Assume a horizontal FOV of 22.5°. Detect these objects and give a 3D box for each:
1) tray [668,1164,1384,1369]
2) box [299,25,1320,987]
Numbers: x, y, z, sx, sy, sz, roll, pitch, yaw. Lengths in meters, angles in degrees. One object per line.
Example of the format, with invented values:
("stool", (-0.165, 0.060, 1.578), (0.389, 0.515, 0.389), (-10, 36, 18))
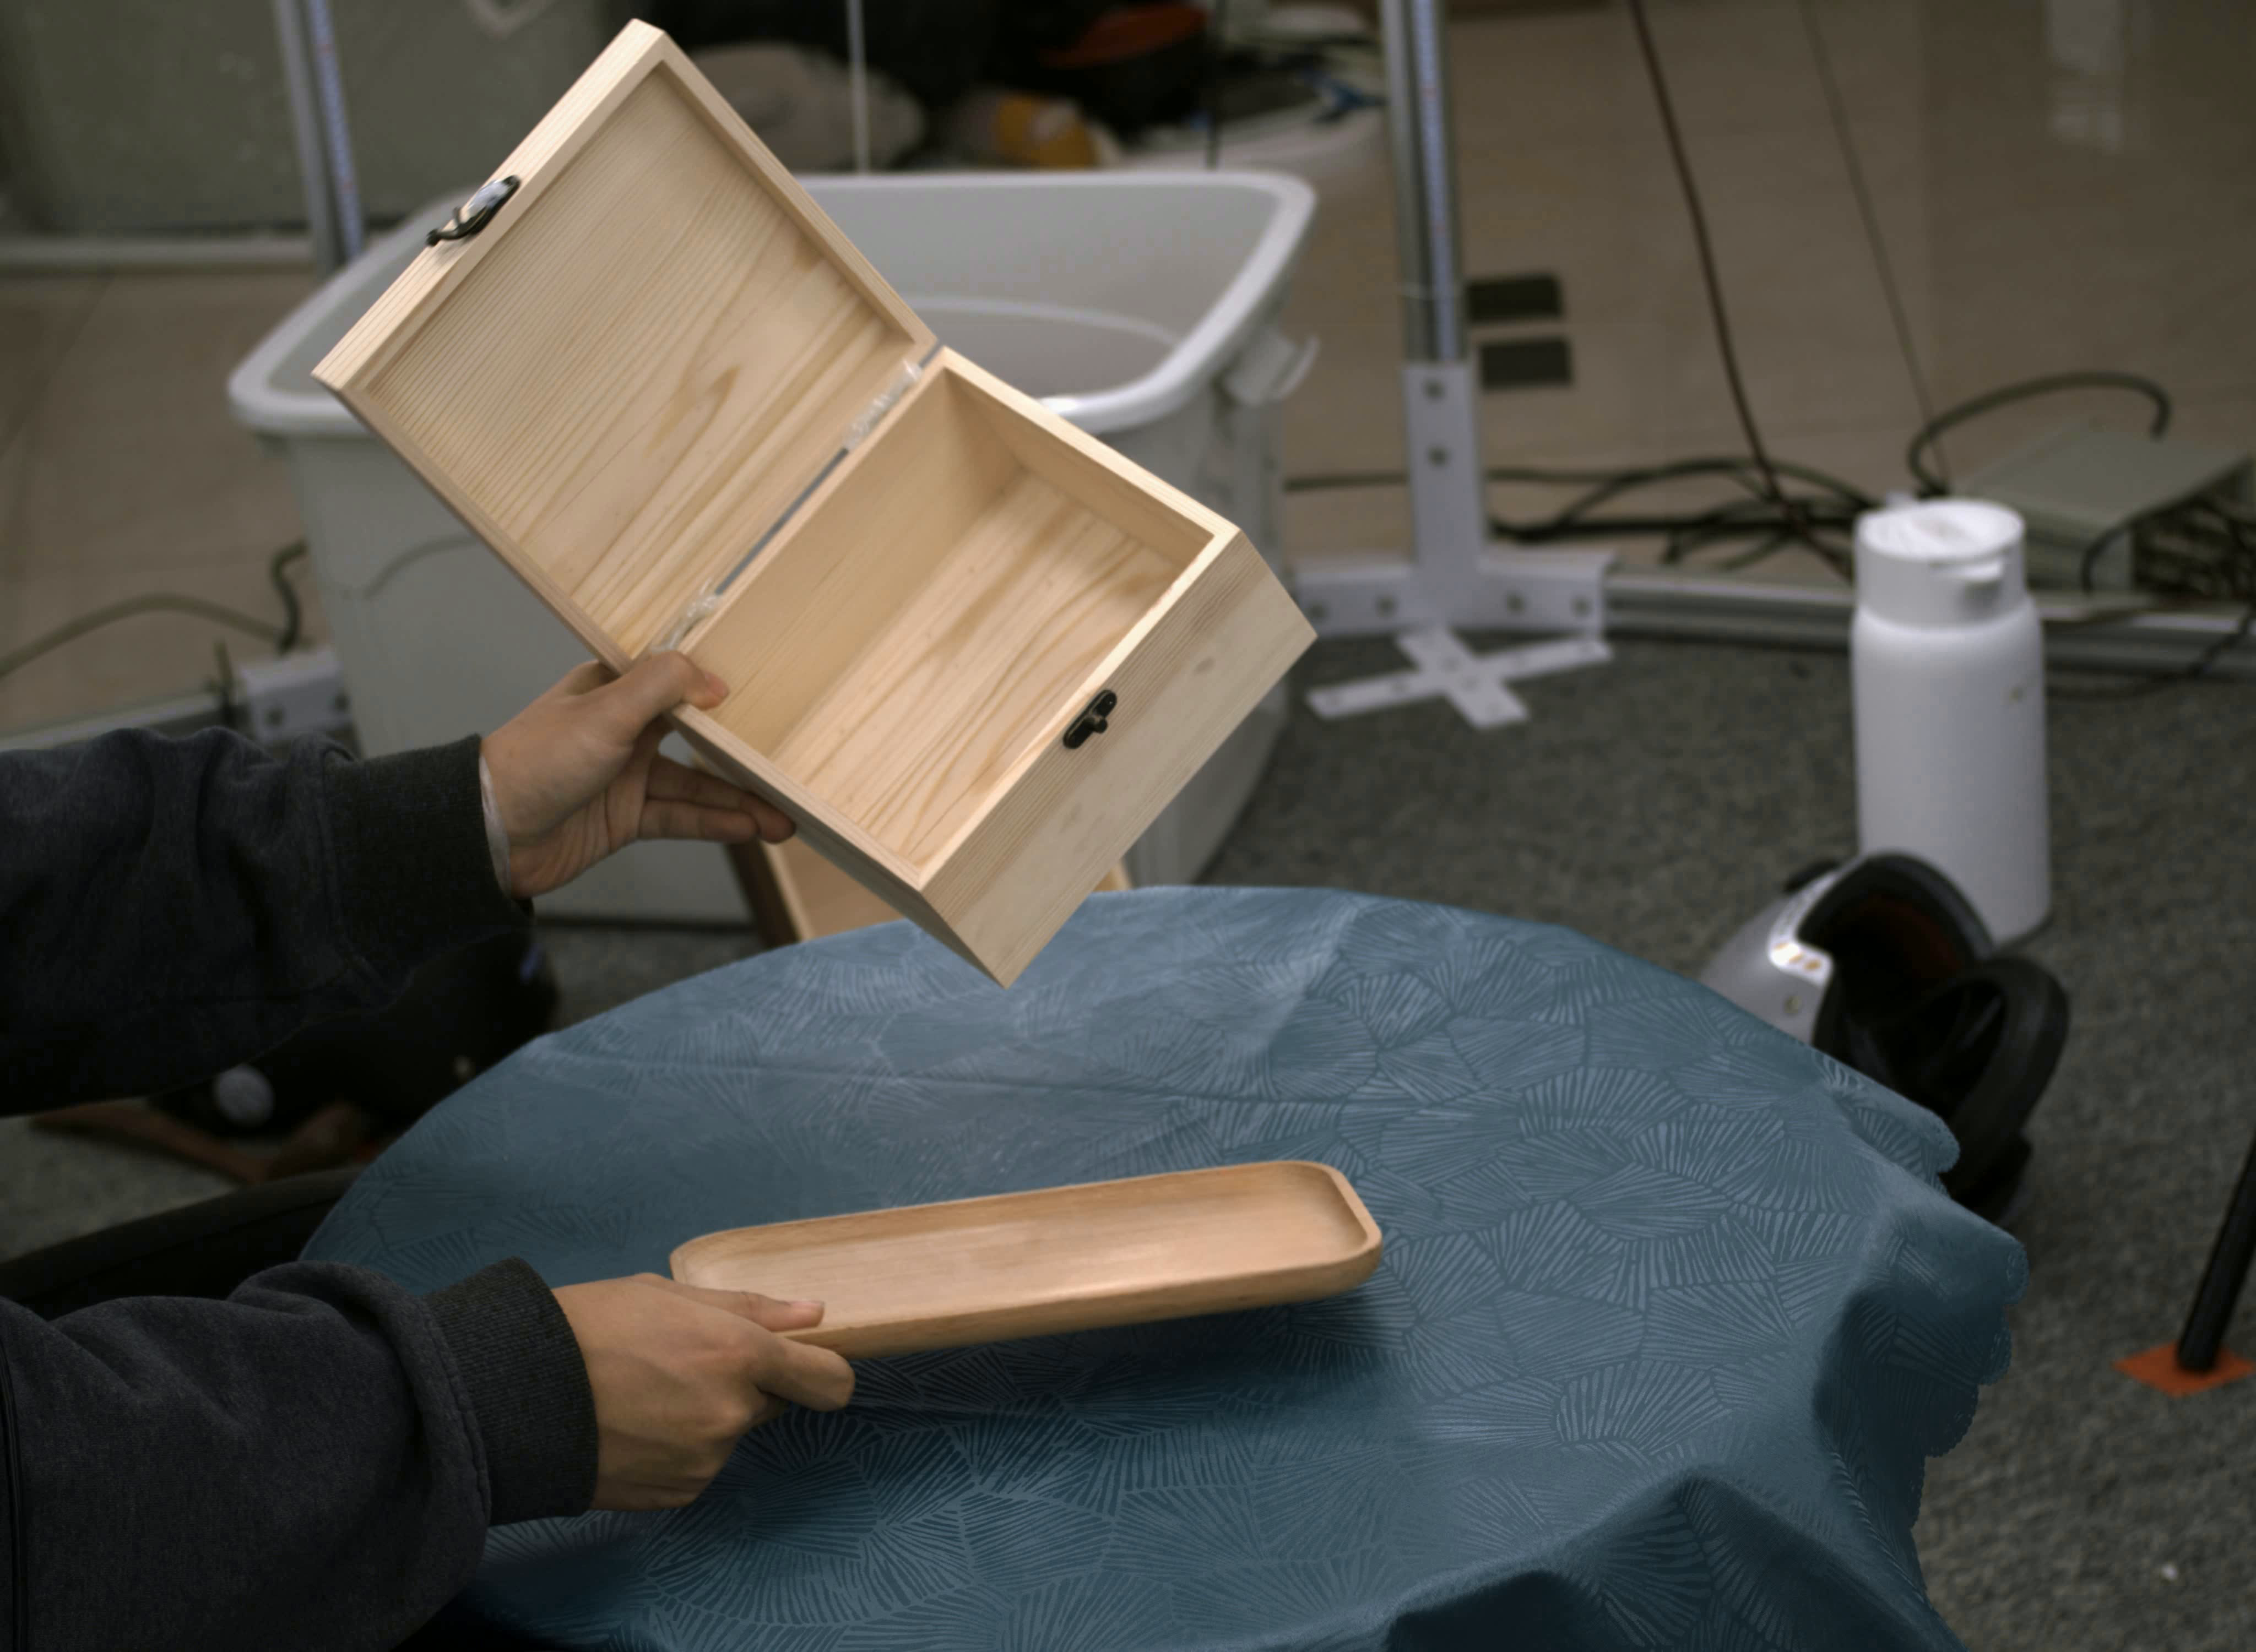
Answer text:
("tray", (-0.037, 0.157, 2.035), (0.250, 0.023, 0.129), (-7, 12, -7))
("box", (-0.117, -0.120, 2.111), (0.181, 0.257, 0.262), (-50, 48, -7))
